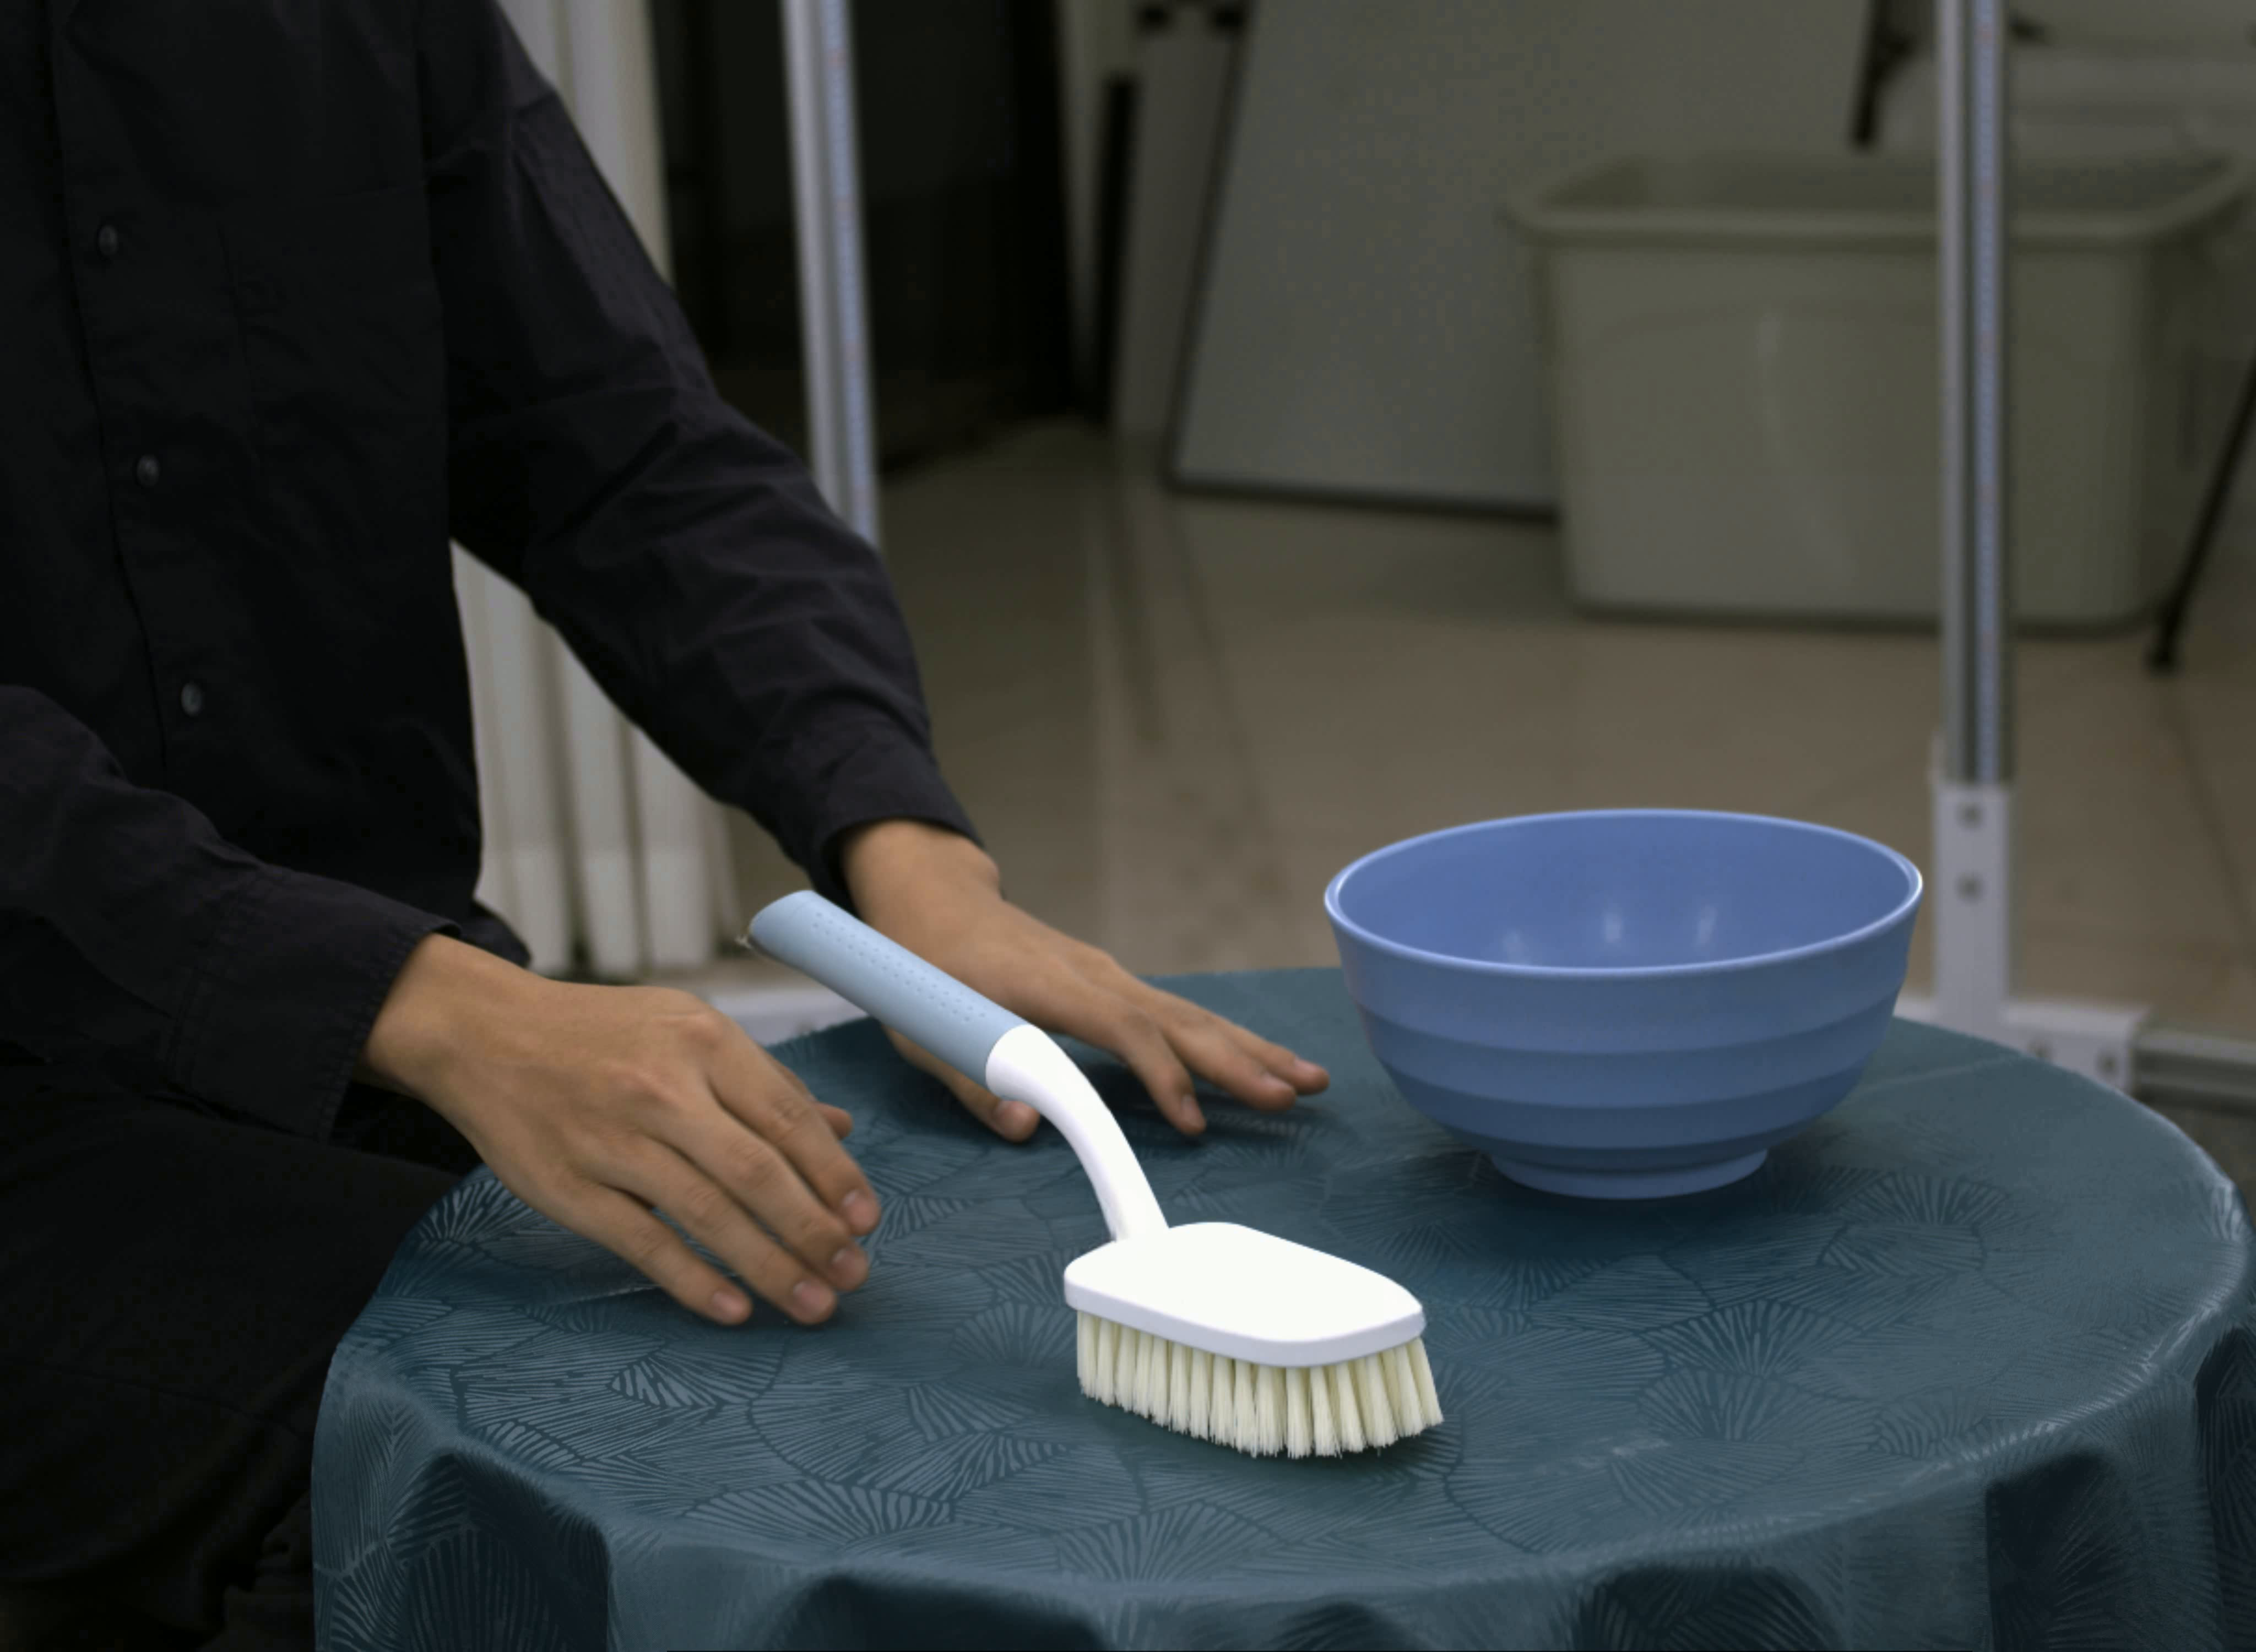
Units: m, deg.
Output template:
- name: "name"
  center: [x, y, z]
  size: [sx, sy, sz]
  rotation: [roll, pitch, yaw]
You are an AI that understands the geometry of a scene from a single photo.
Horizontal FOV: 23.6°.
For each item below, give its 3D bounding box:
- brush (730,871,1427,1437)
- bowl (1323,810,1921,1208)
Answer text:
- name: "brush"
  center: [-0.021, 0.112, 1.638]
  size: [0.329, 0.085, 0.082]
  rotation: [29, -4, 45]
- name: "bowl"
  center: [0.163, 0.066, 1.762]
  size: [0.194, 0.096, 0.197]
  rotation: [-4, 14, 0]
